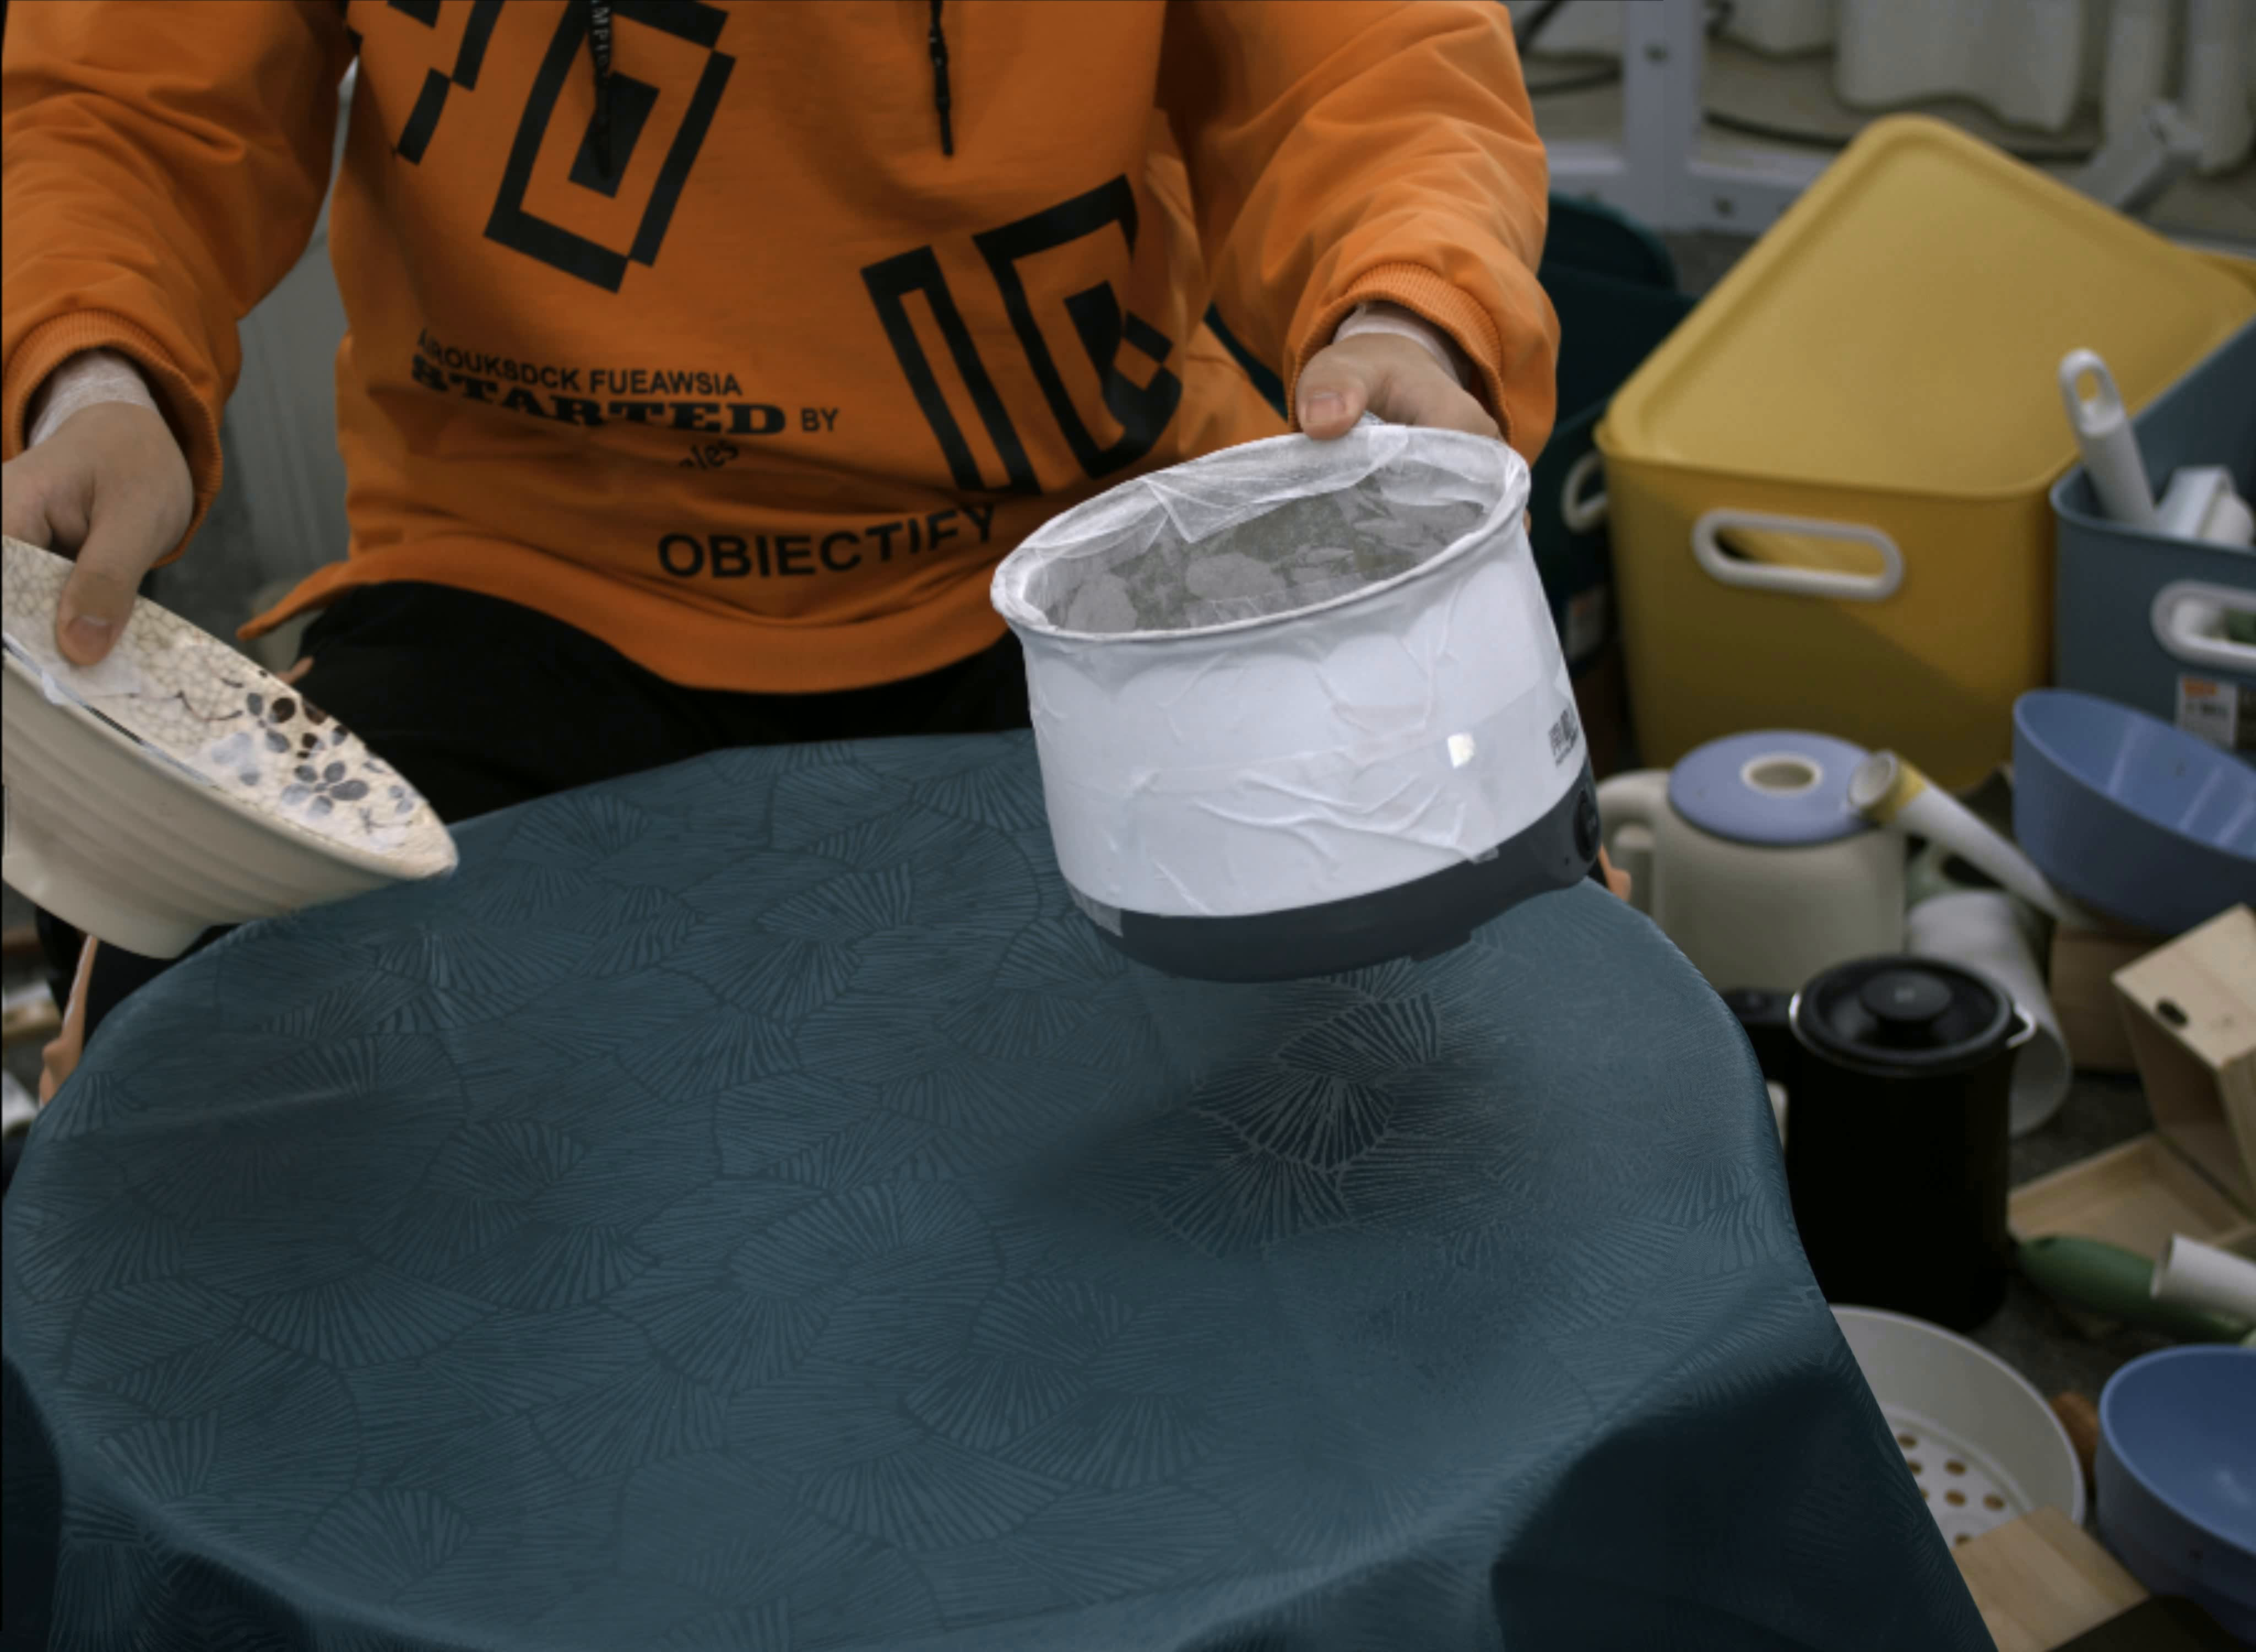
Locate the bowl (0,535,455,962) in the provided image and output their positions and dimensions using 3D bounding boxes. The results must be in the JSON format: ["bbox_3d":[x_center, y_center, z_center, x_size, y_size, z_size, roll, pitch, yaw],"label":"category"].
[{"bbox_3d":[-0.323,-0.011,1.820,0.203,0.078,0.205,33,6,-3],"label":"bowl"}]

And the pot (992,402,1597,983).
[{"bbox_3d":[0.063,-0.050,1.850,0.177,0.135,0.237,-5,22,20],"label":"pot"}]
